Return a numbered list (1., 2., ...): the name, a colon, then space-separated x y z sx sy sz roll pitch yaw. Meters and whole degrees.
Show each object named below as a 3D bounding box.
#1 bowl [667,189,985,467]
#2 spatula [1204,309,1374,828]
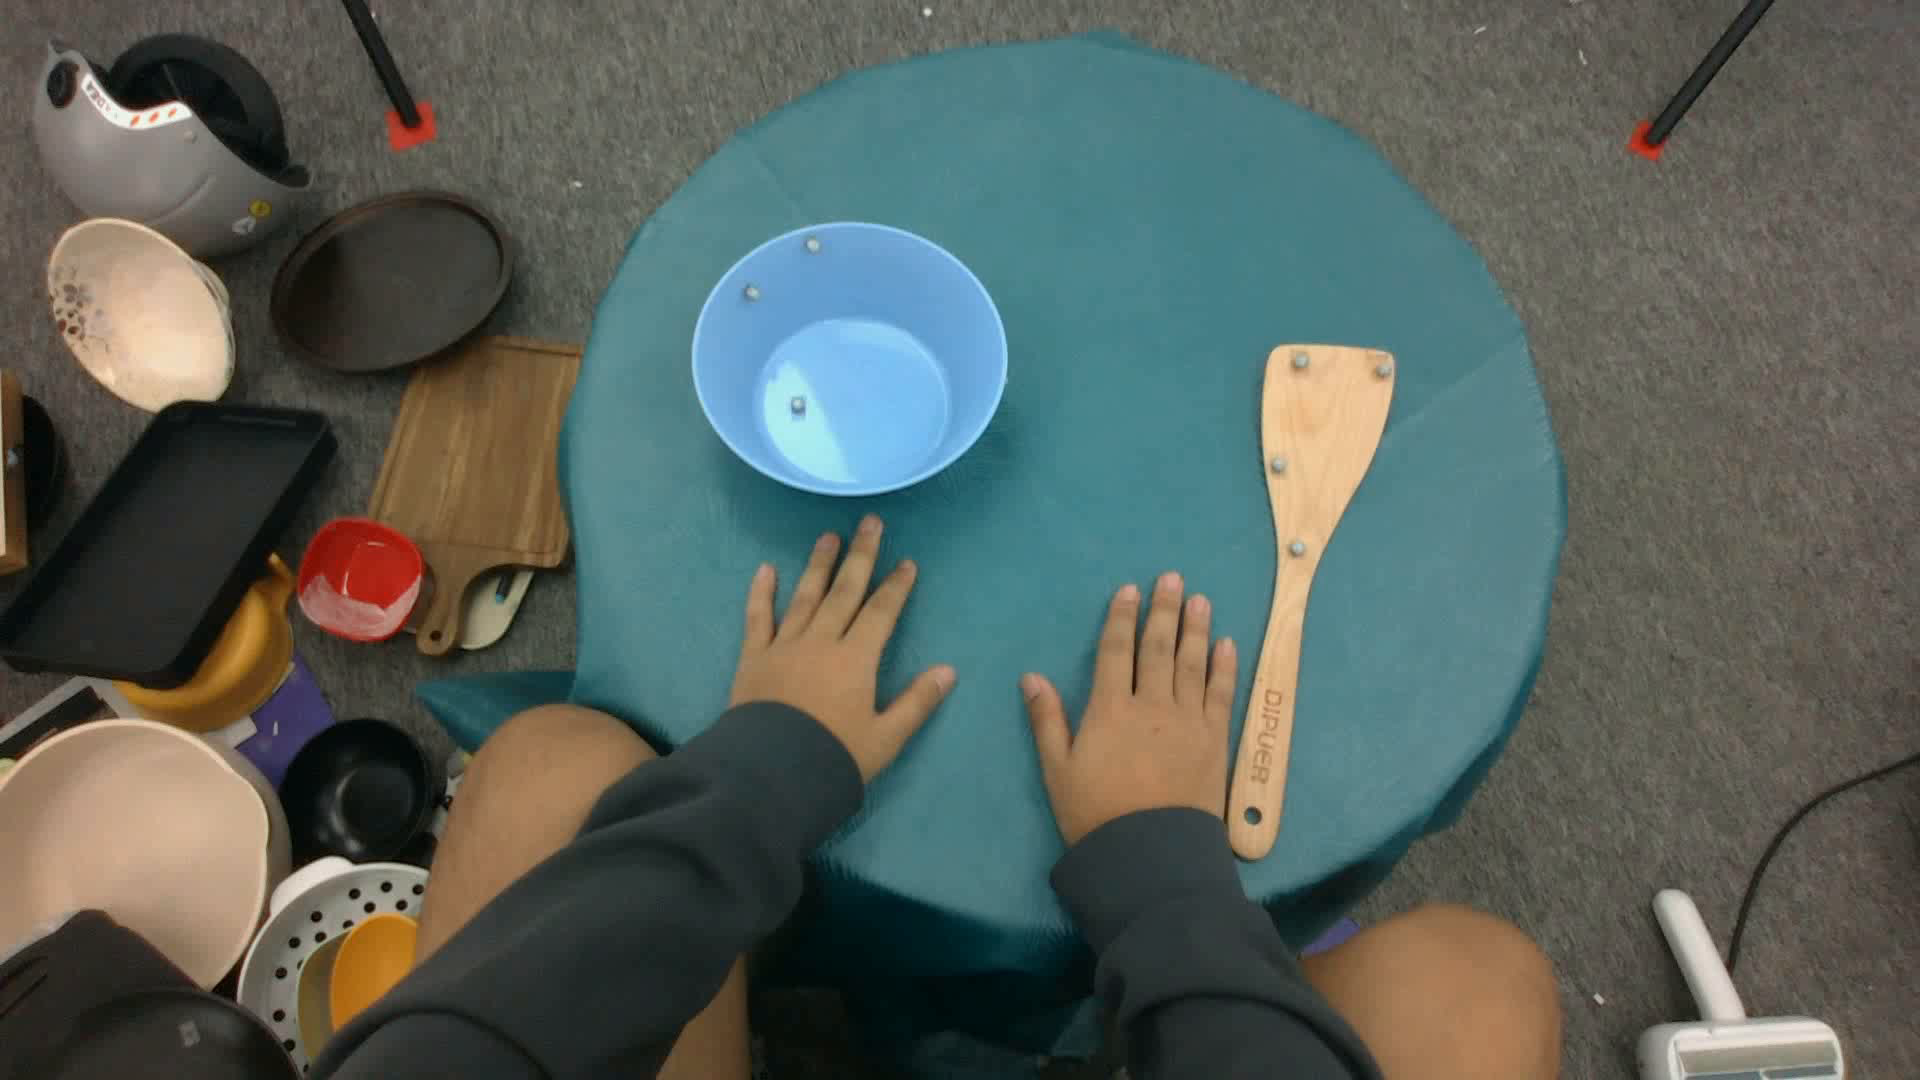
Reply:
1. bowl: -0.076 -0.109 0.789 0.176 0.070 0.176 2 68 -4
2. spatula: 0.180 0.004 0.794 0.080 0.016 0.329 15 68 1
